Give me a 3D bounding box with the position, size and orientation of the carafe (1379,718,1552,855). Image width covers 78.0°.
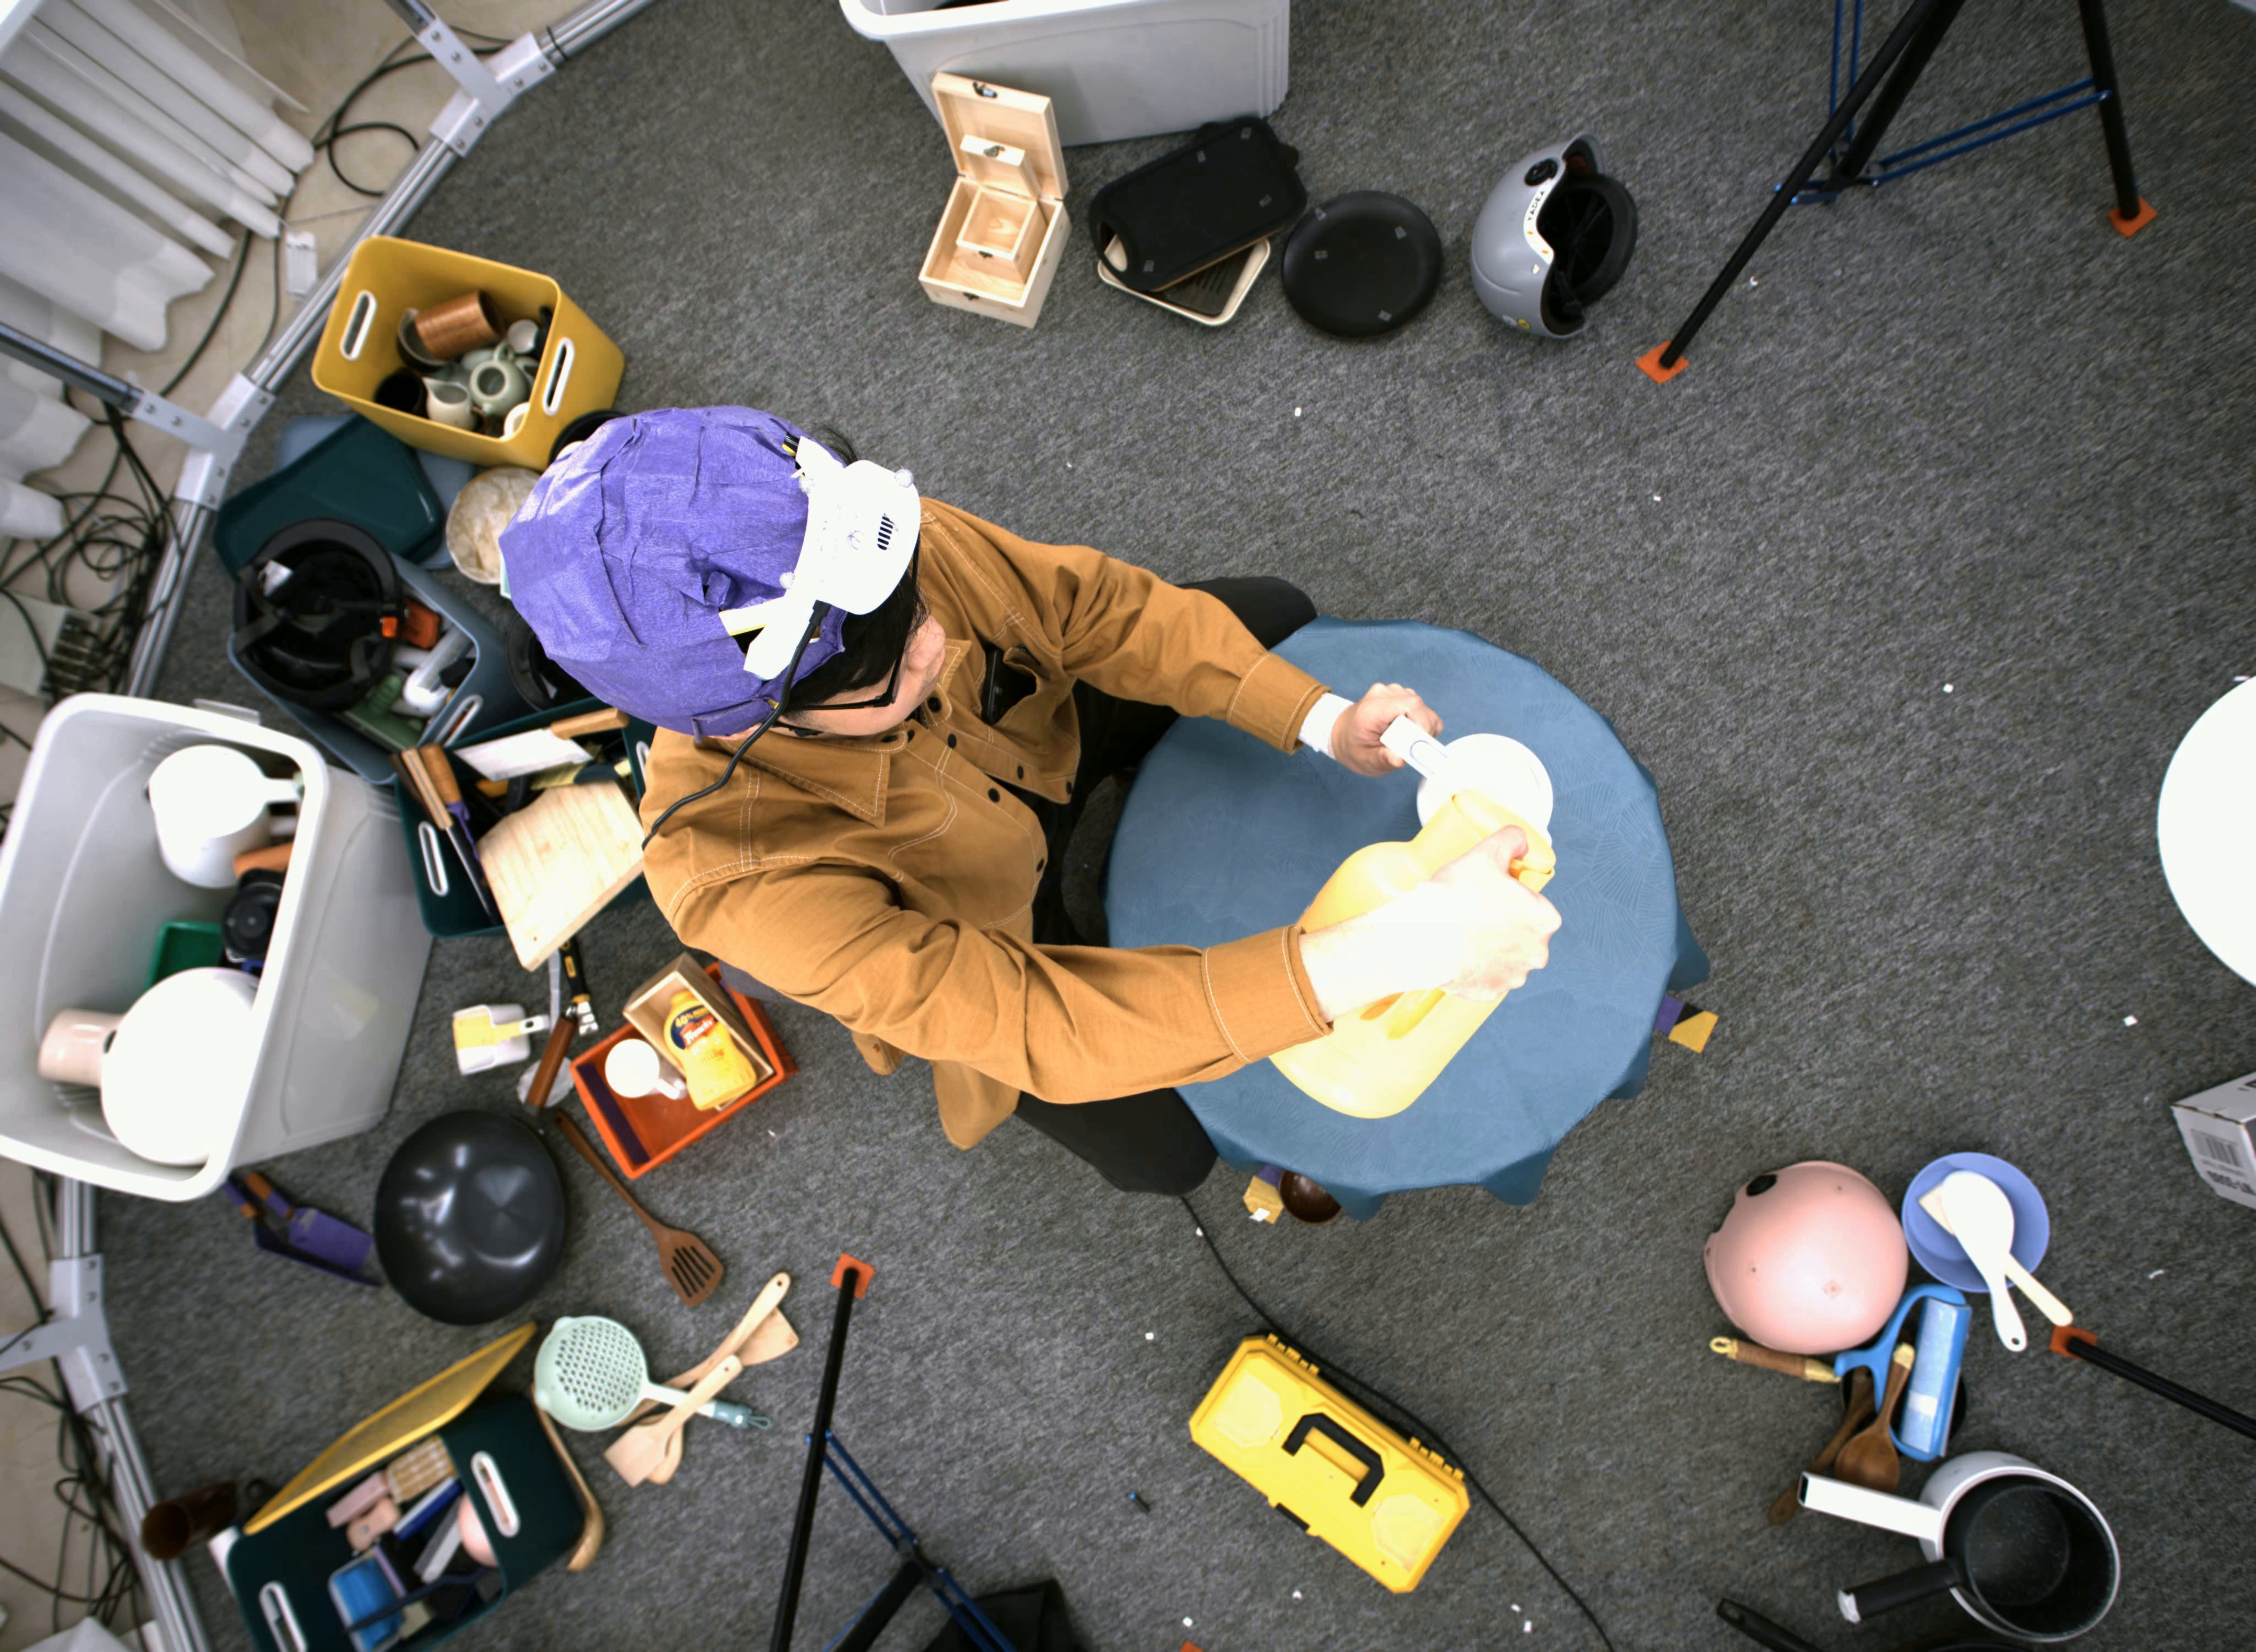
[{"bbox_3d":[0.313,-0.033,1.269,0.172,0.267,0.125,39,103,11],"label":"carafe"}]

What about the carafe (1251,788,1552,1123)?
[{"bbox_3d":[0.215,0.099,1.057,0.163,0.199,0.265,32,112,2],"label":"carafe"}]
